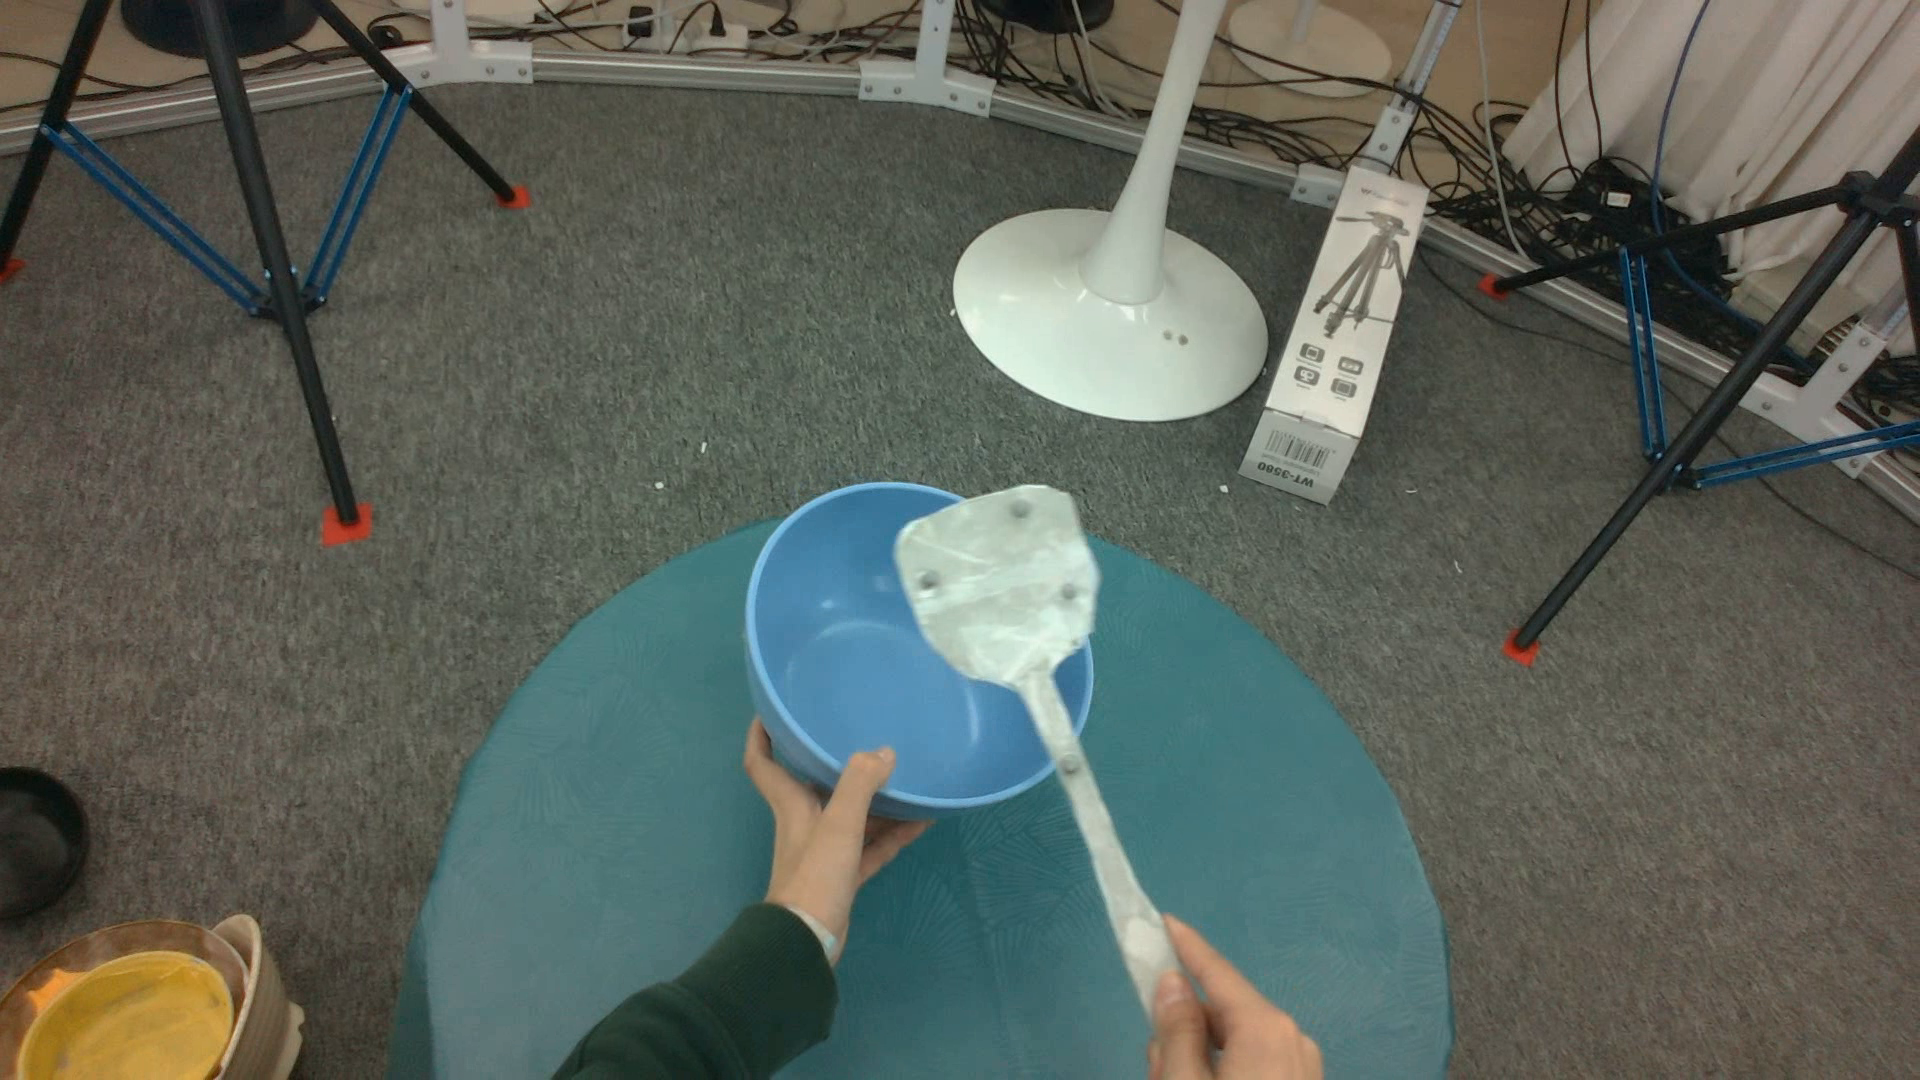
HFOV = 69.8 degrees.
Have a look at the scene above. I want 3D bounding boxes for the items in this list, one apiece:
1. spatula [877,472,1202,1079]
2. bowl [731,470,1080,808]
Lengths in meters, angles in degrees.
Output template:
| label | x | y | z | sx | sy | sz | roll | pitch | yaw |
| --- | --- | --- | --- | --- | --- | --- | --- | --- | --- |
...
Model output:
| label | x | y | z | sx | sy | sz | roll | pitch | yaw |
| --- | --- | --- | --- | --- | --- | --- | --- | --- | --- |
| spatula | 0.051 | 0.115 | 0.629 | 0.099 | 0.044 | 0.366 | -14 | 51 | -9 |
| bowl | -0.041 | 0.067 | 0.765 | 0.196 | 0.095 | 0.197 | 14 | 51 | -18 |
